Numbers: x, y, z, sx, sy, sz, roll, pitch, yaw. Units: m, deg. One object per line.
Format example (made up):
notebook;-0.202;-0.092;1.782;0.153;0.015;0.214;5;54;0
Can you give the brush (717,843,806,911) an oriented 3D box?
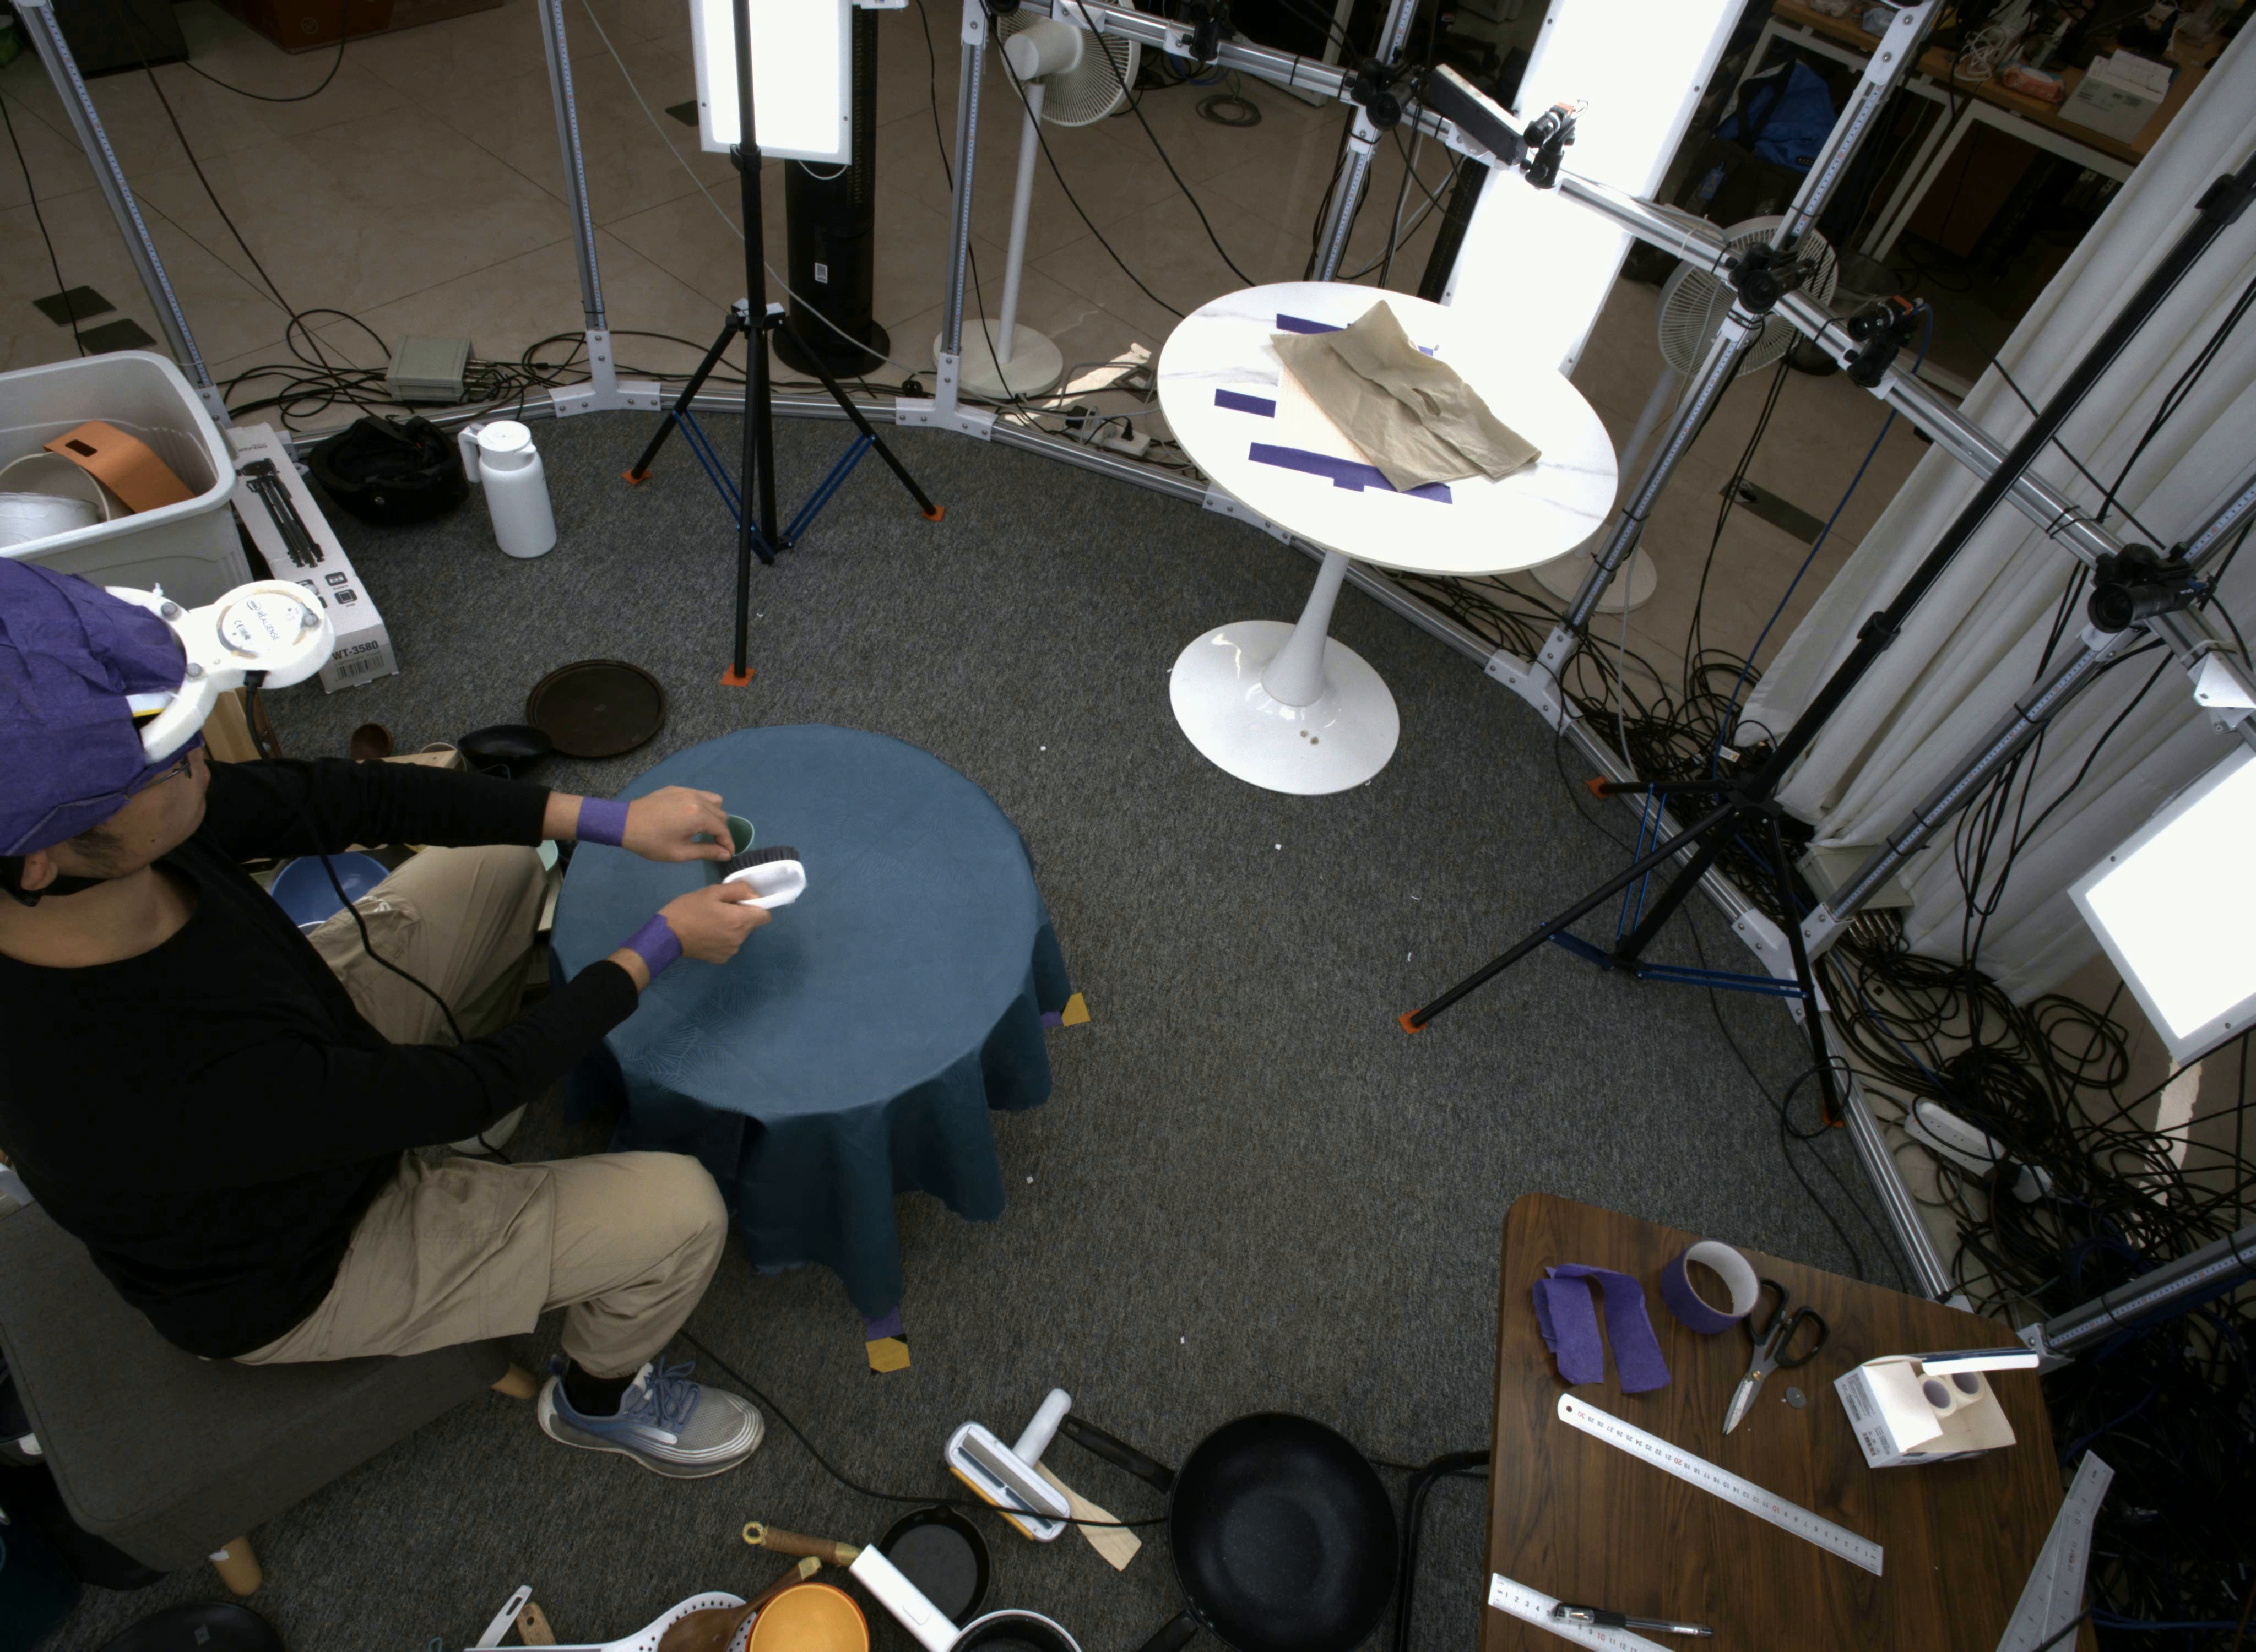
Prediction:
brush;-0.430;0.065;1.529;0.099;0.051;0.070;-13;47;-22

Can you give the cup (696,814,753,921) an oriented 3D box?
cup;-0.492;0.052;1.593;0.066;0.135;0.065;7;51;-7
